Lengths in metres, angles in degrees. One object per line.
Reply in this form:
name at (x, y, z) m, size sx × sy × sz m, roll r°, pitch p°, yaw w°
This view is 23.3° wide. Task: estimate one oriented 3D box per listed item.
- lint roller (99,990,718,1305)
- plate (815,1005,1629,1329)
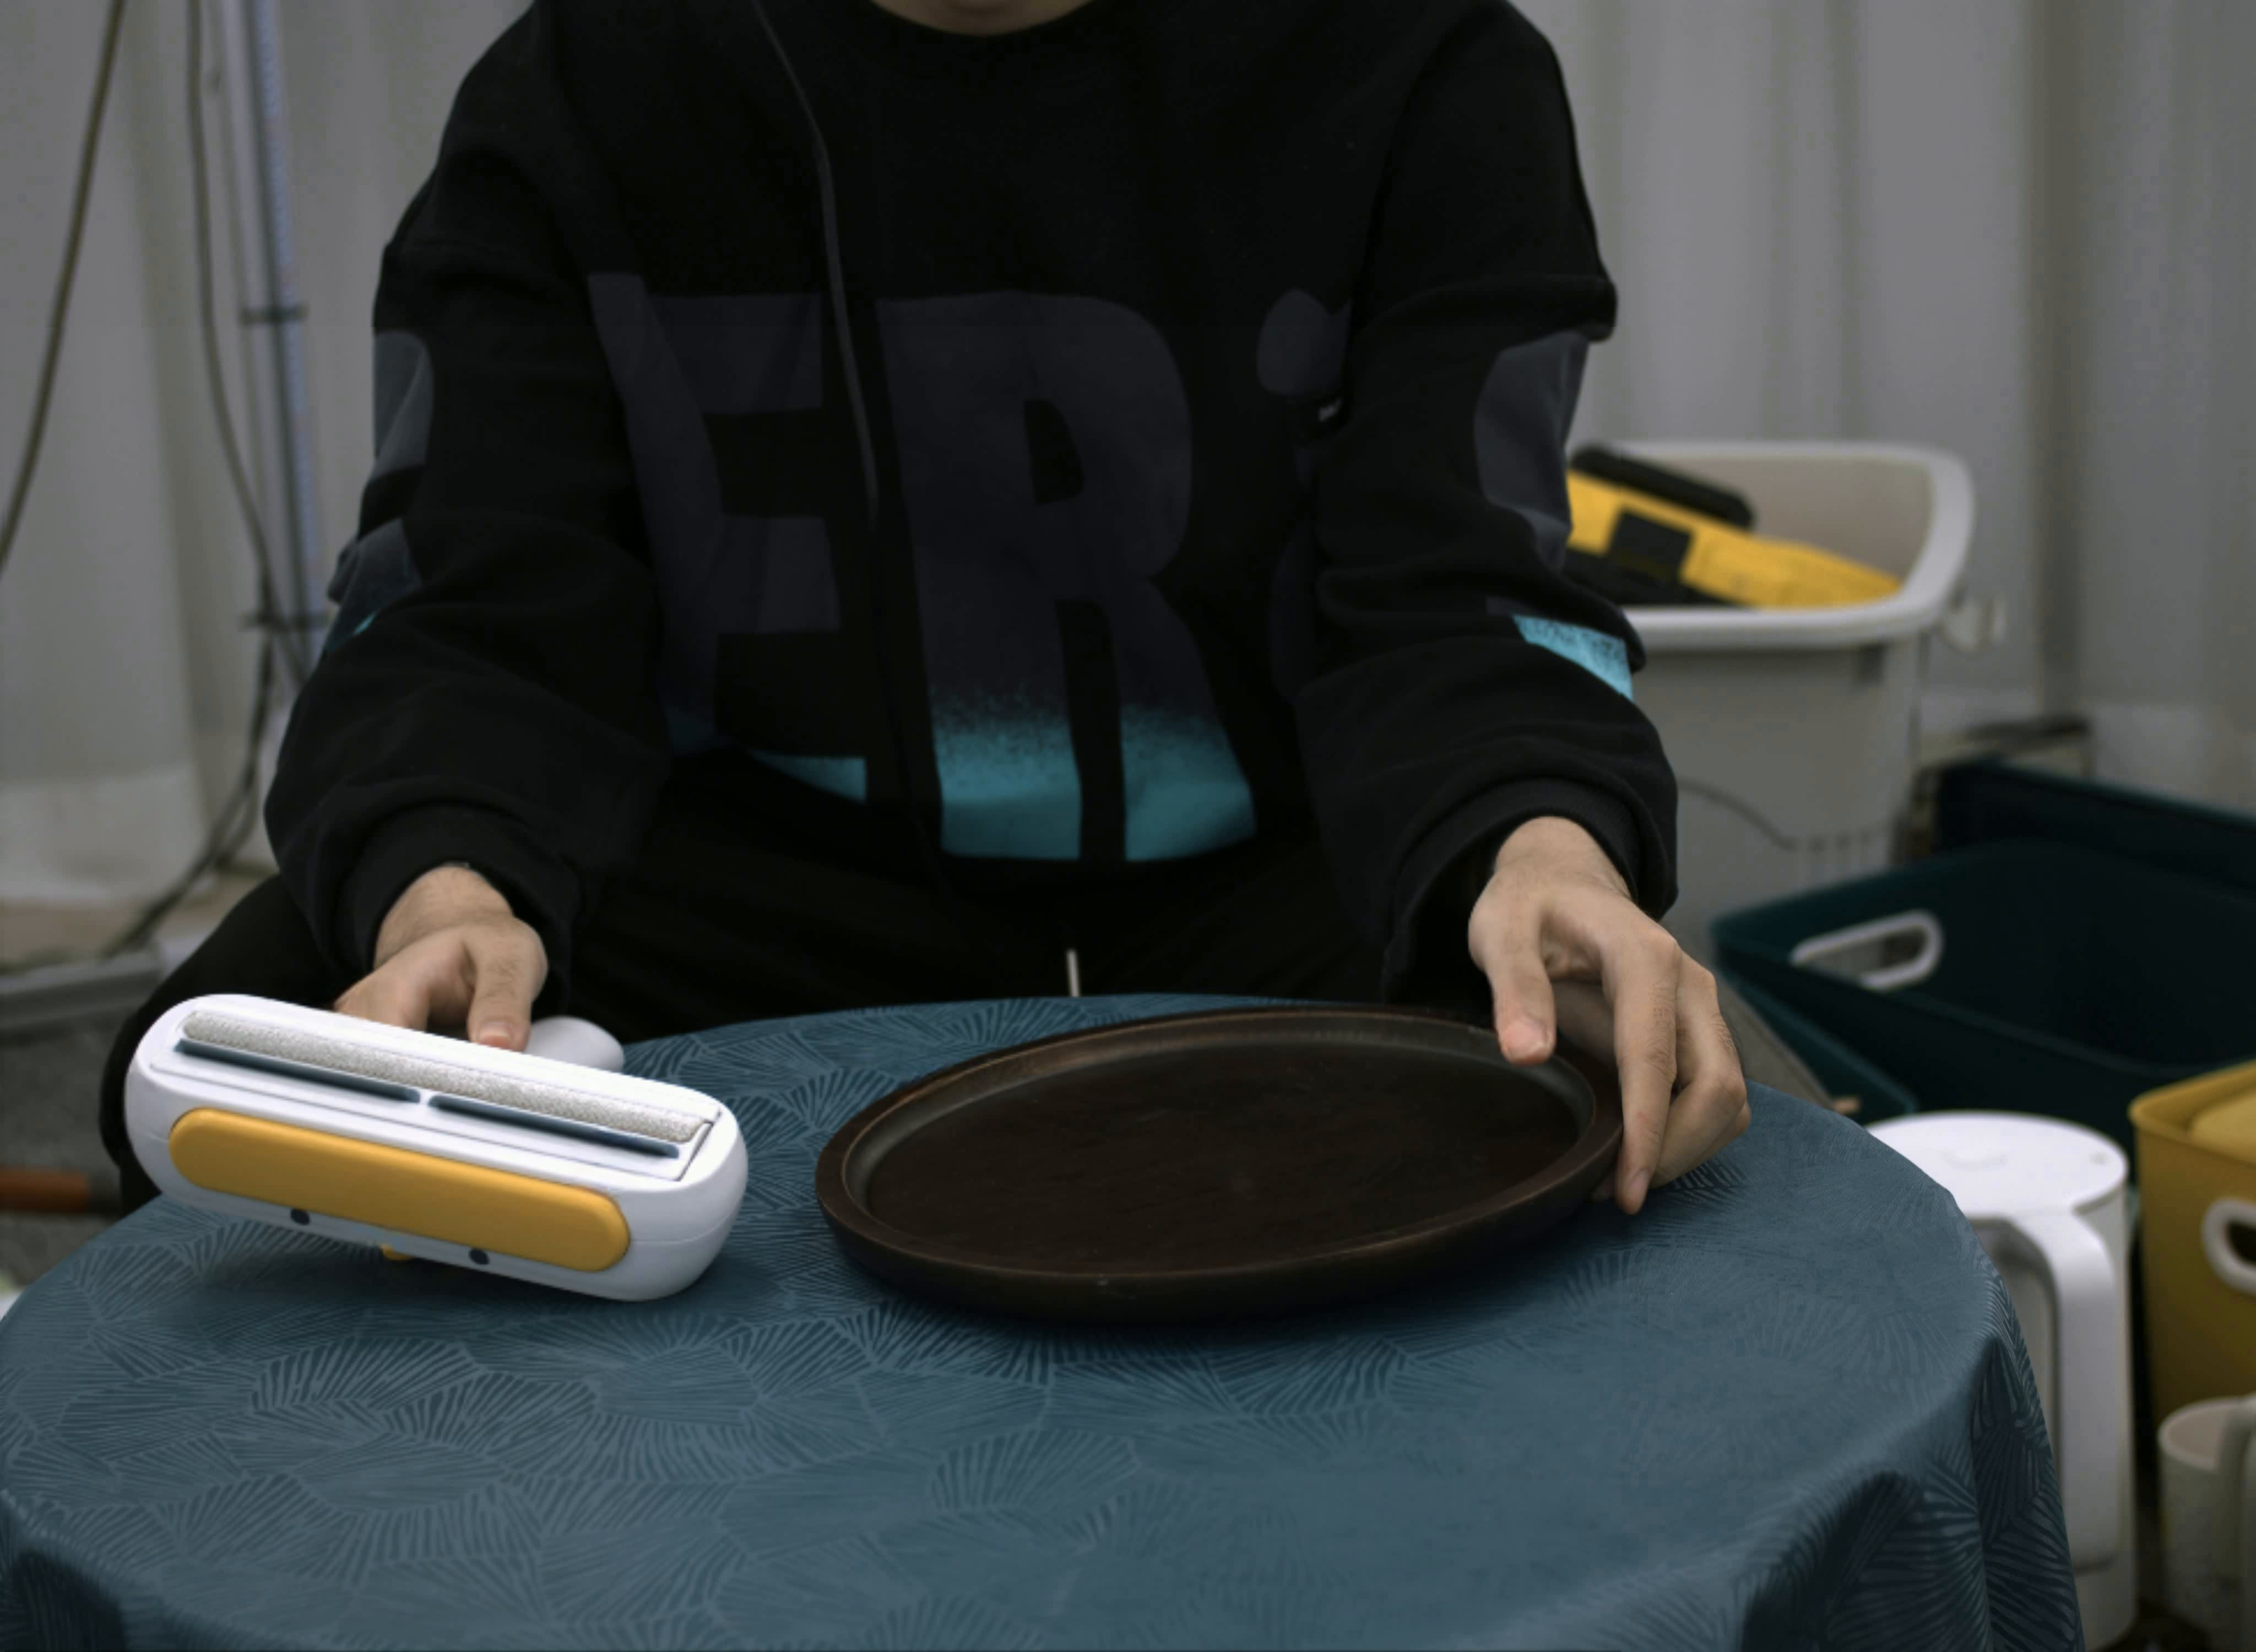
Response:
lint roller at (-0.202, 0.084, 1.719) m, size 0.193 × 0.074 × 0.193 m, roll 8°, pitch 21°, yaw 15°
plate at (0.029, 0.103, 1.686) m, size 0.254 × 0.029 × 0.256 m, roll -6°, pitch 14°, yaw 1°
